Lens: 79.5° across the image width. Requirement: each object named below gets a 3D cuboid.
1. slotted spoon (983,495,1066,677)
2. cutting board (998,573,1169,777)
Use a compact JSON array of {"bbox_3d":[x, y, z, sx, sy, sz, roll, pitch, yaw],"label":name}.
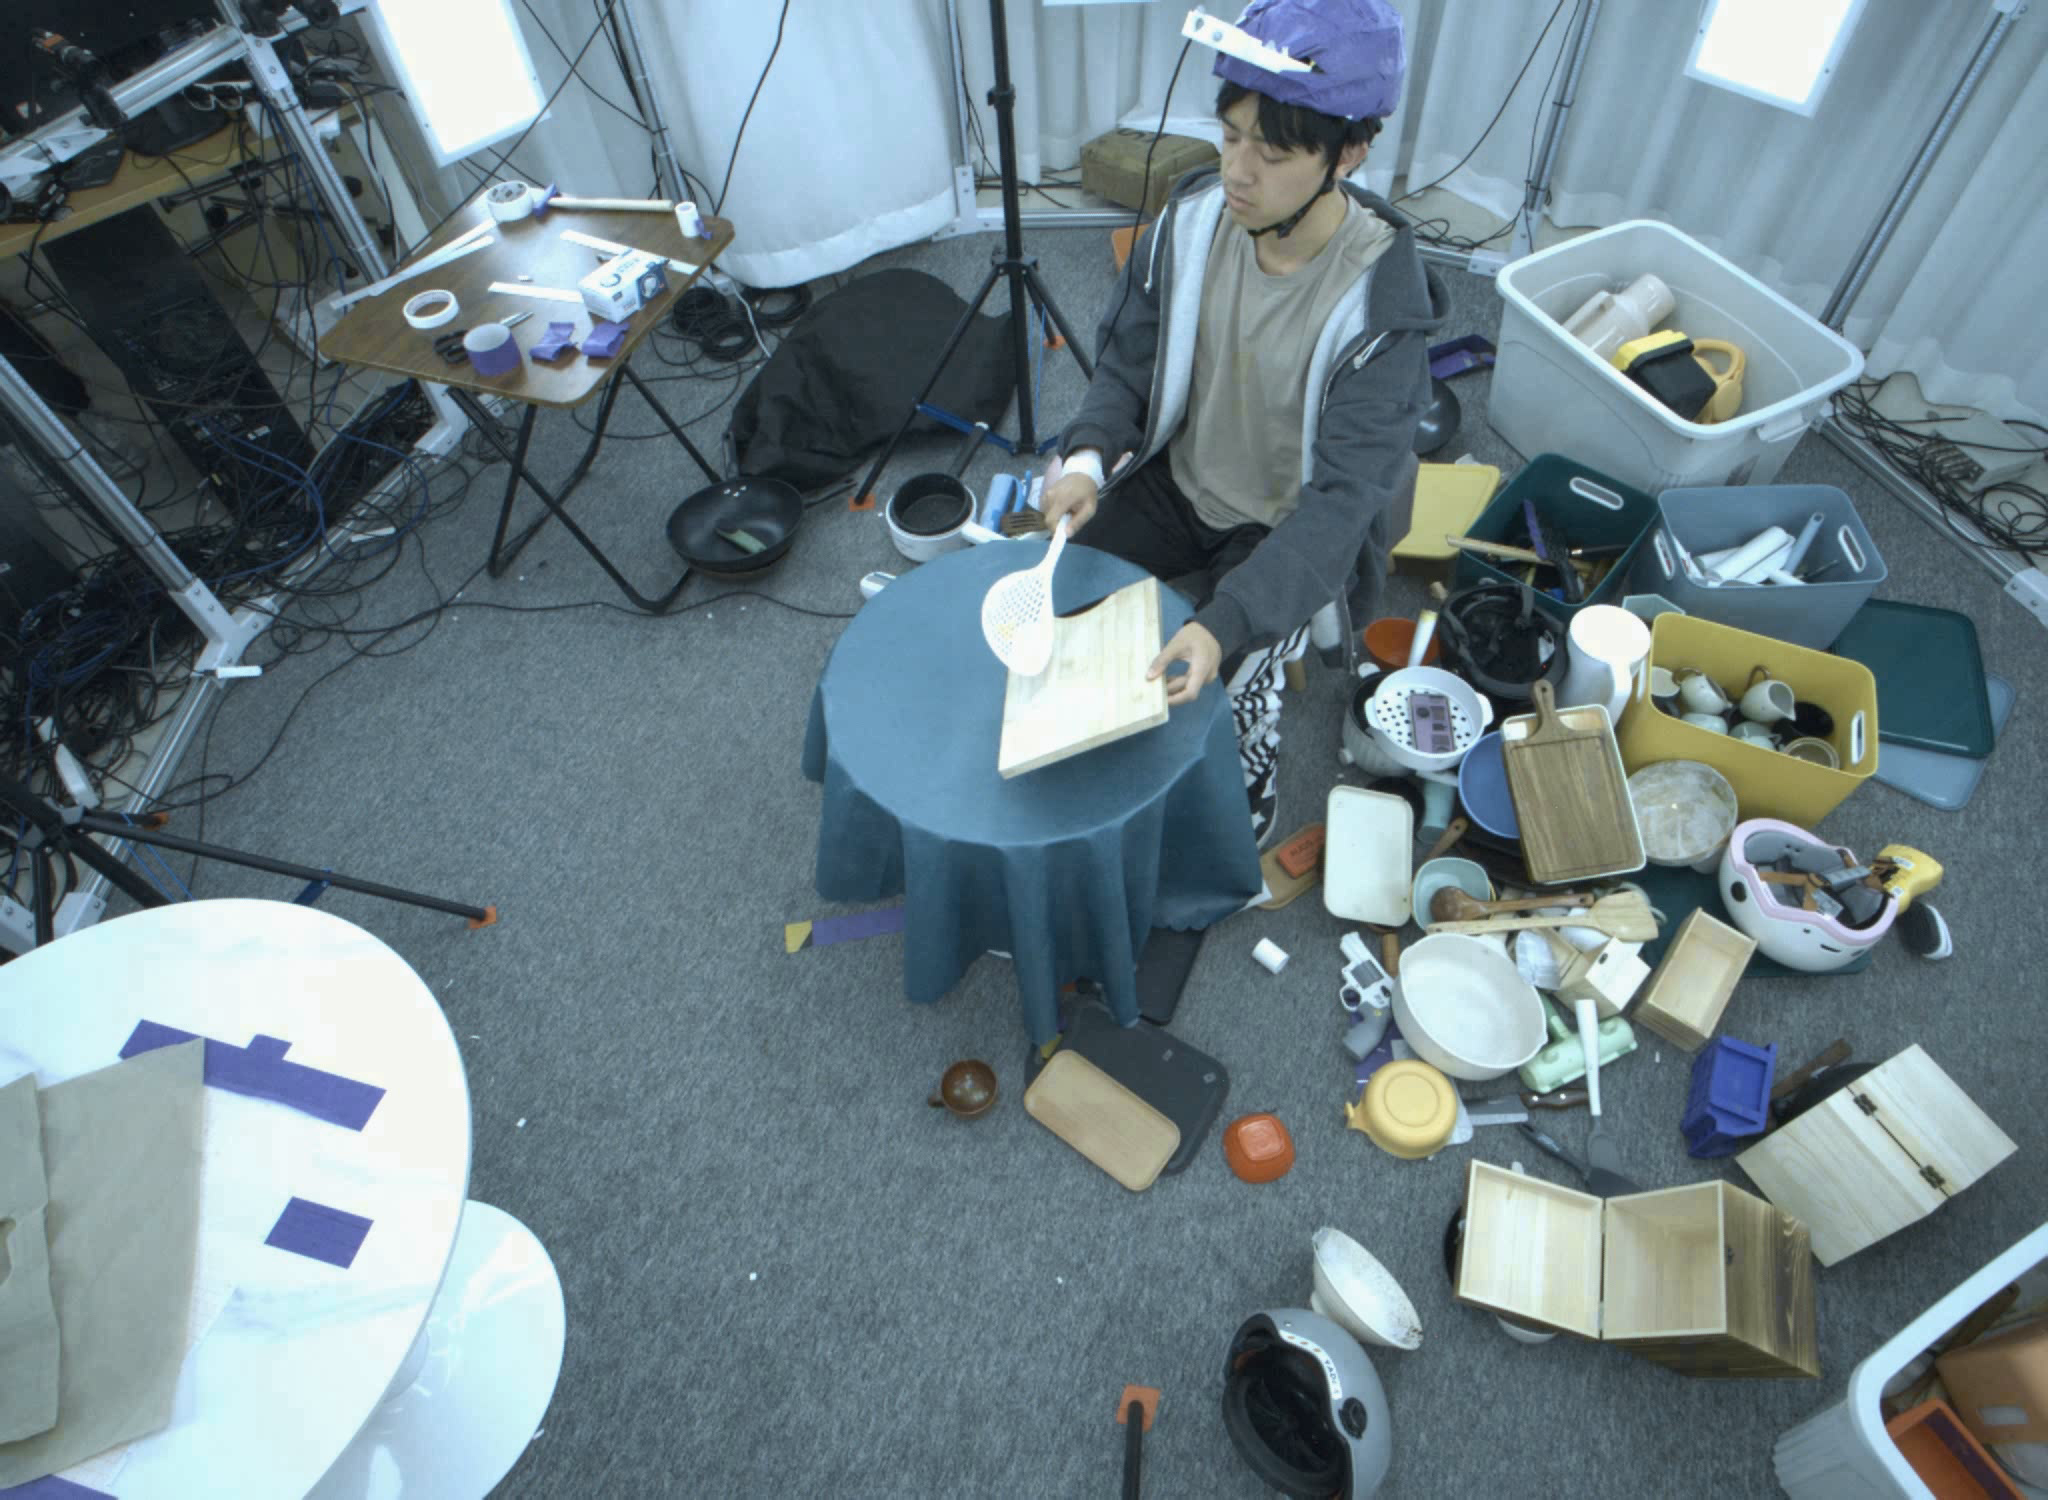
[{"bbox_3d":[0.019,-0.254,1.792,0.049,0.139,0.347,-13,44,45],"label":"slotted spoon"},{"bbox_3d":[0.085,-0.112,1.749,0.248,0.024,0.345,-20,35,17],"label":"cutting board"}]
